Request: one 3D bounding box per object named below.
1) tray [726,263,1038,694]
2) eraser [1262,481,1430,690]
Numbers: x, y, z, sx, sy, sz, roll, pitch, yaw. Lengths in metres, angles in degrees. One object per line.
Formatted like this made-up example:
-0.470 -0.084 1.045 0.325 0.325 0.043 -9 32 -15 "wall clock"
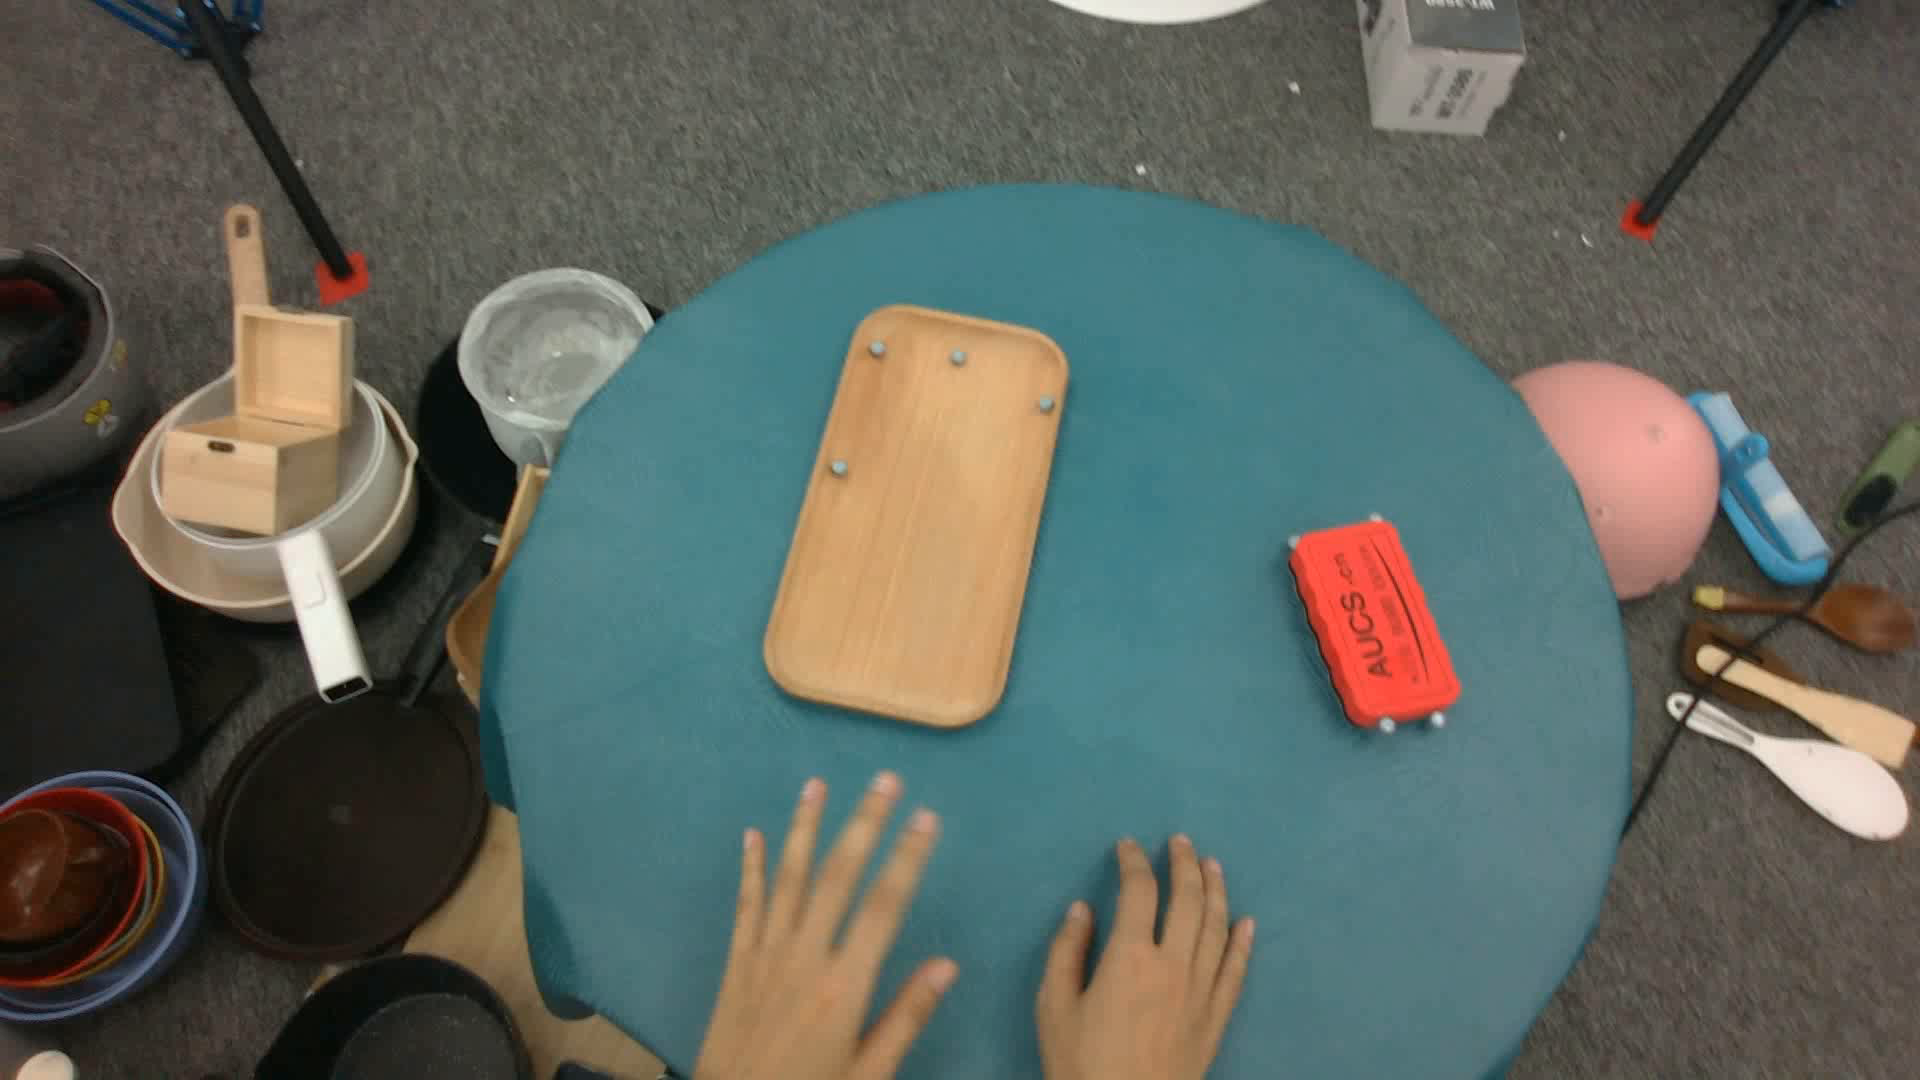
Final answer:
-0.037 -0.040 0.747 0.130 0.023 0.251 11 65 4 "tray"
0.204 0.023 0.734 0.059 0.023 0.108 -10 66 -10 "eraser"
